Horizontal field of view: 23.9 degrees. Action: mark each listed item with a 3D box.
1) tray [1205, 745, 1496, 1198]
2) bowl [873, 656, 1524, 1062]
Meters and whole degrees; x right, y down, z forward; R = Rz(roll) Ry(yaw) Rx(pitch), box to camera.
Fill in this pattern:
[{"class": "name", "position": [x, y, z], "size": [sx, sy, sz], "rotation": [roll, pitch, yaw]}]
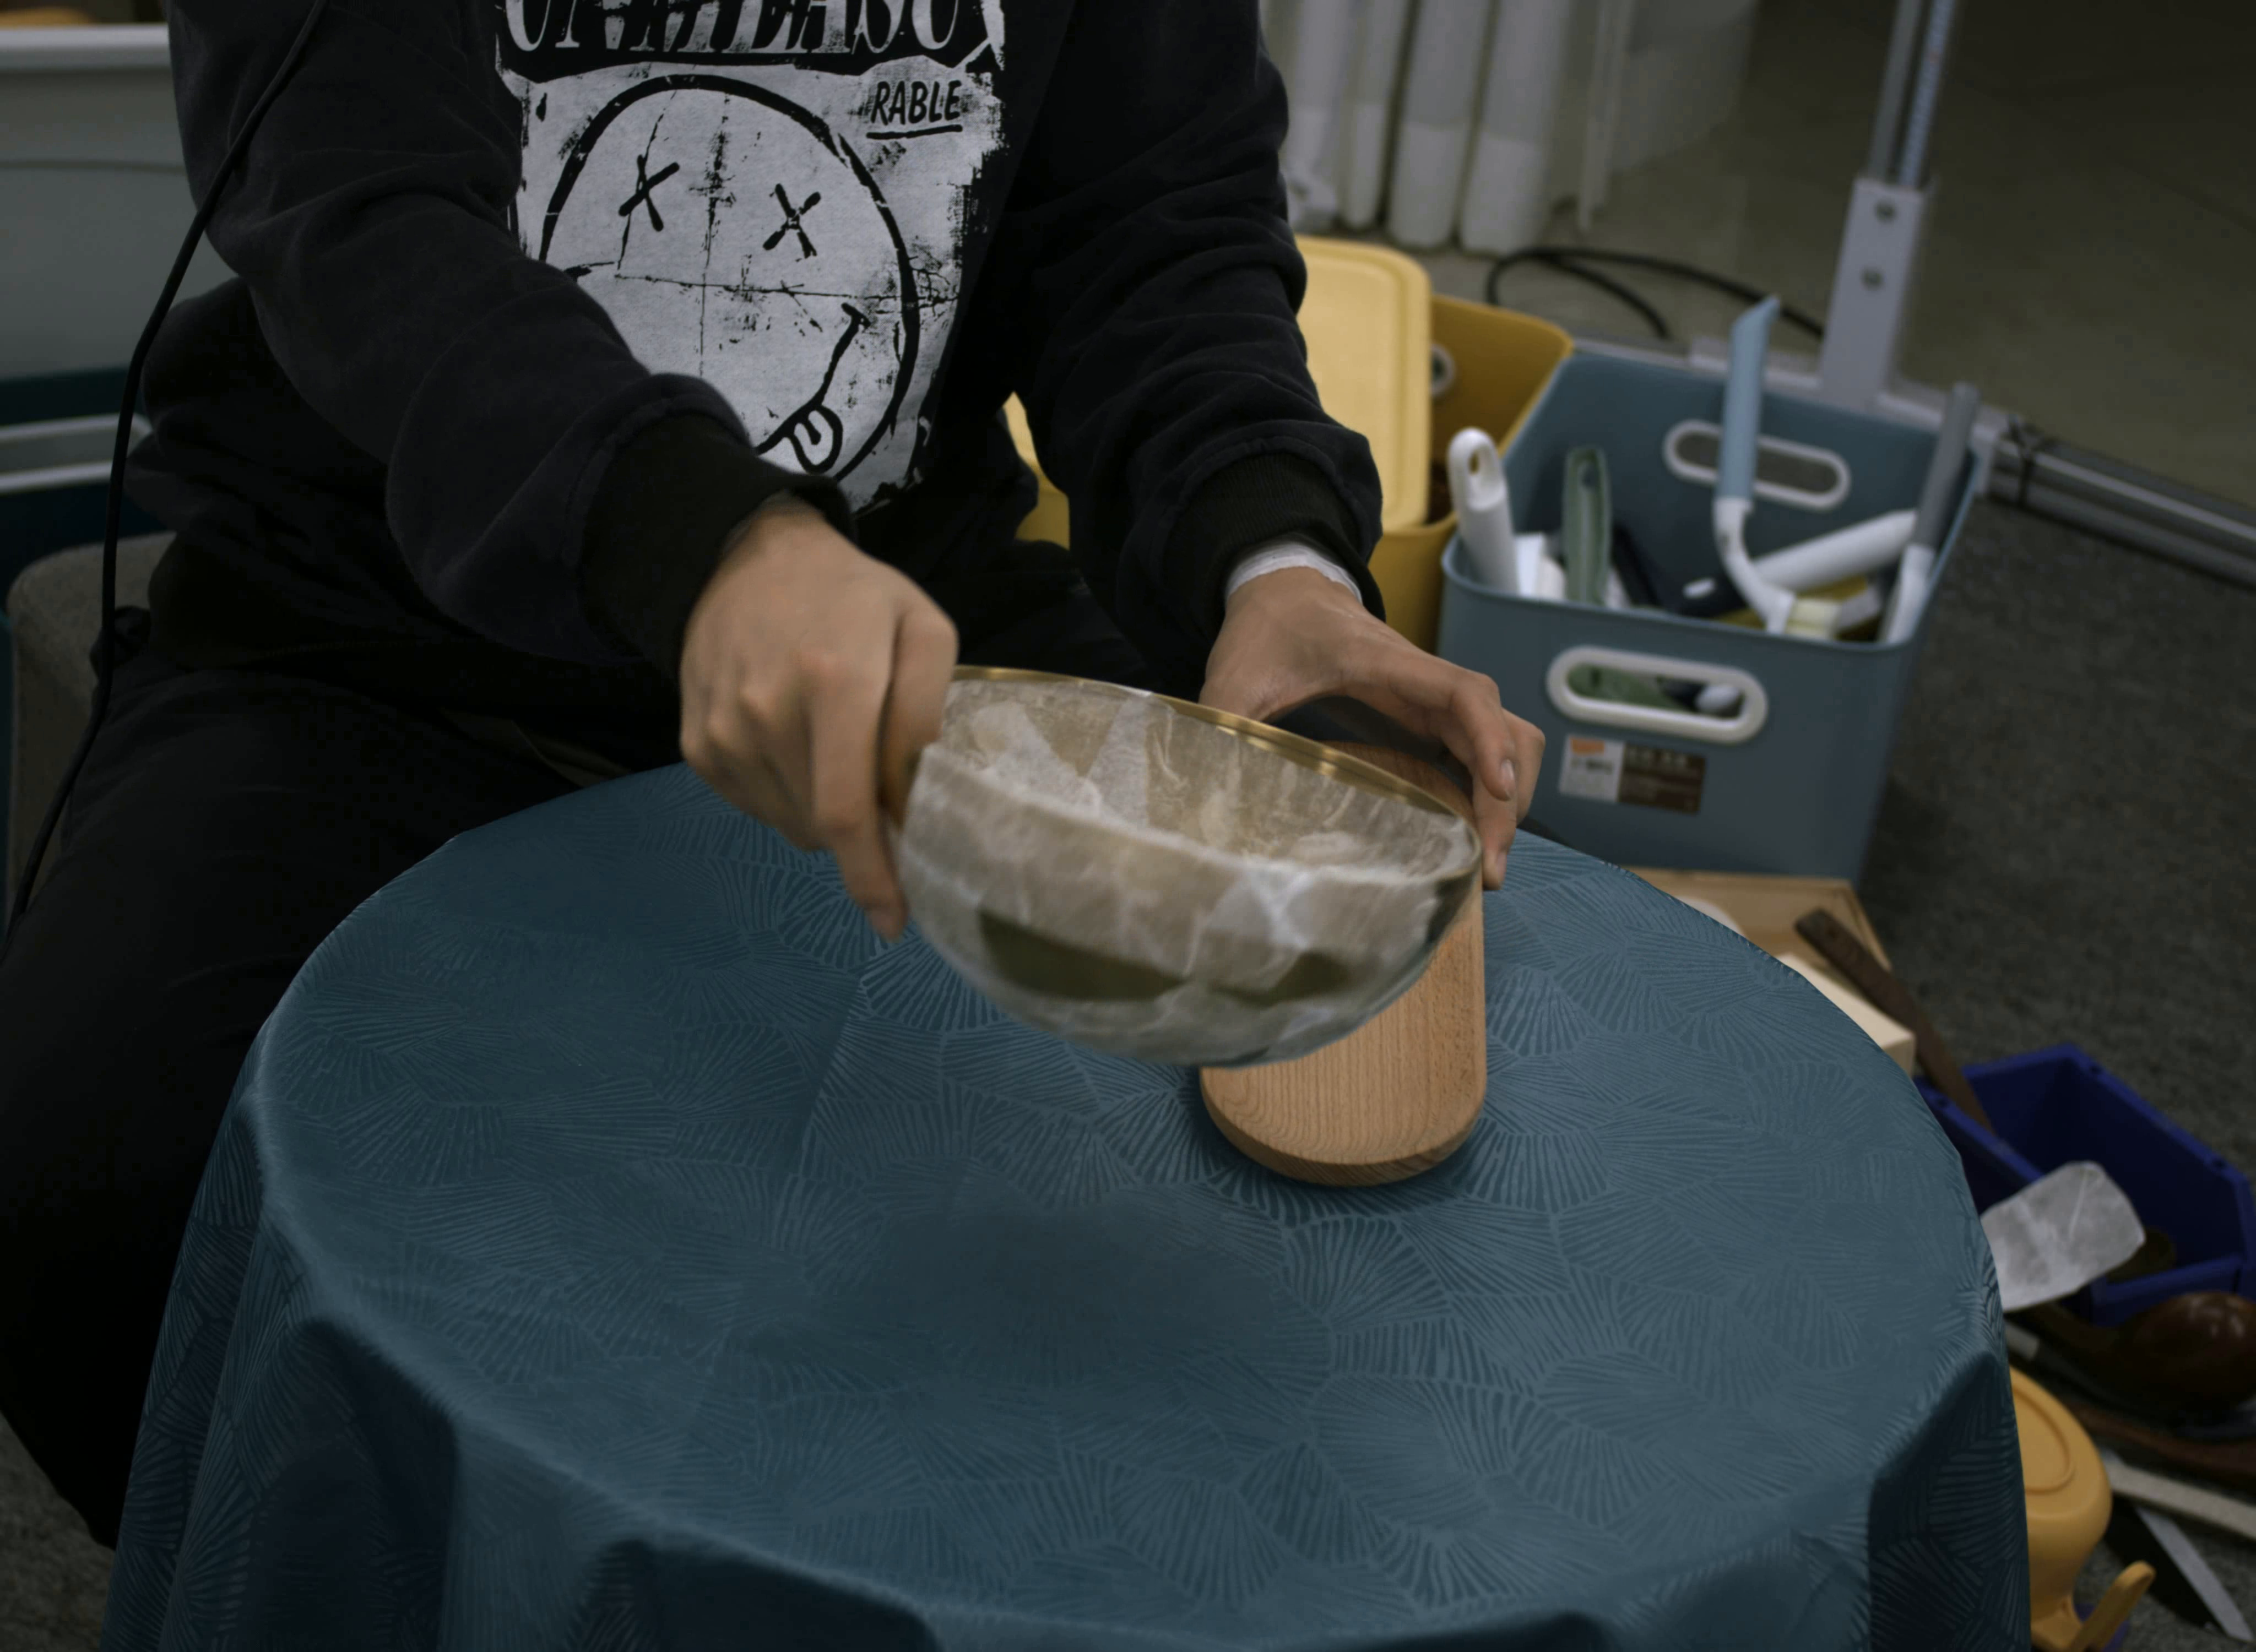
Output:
[{"class": "tray", "position": [0.078, 0.049, 1.896], "size": [0.101, 0.020, 0.233], "rotation": [1, 41, 0]}, {"class": "bowl", "position": [0.010, 0.021, 1.699], "size": [0.214, 0.094, 0.215], "rotation": [14, 11, -3]}]
